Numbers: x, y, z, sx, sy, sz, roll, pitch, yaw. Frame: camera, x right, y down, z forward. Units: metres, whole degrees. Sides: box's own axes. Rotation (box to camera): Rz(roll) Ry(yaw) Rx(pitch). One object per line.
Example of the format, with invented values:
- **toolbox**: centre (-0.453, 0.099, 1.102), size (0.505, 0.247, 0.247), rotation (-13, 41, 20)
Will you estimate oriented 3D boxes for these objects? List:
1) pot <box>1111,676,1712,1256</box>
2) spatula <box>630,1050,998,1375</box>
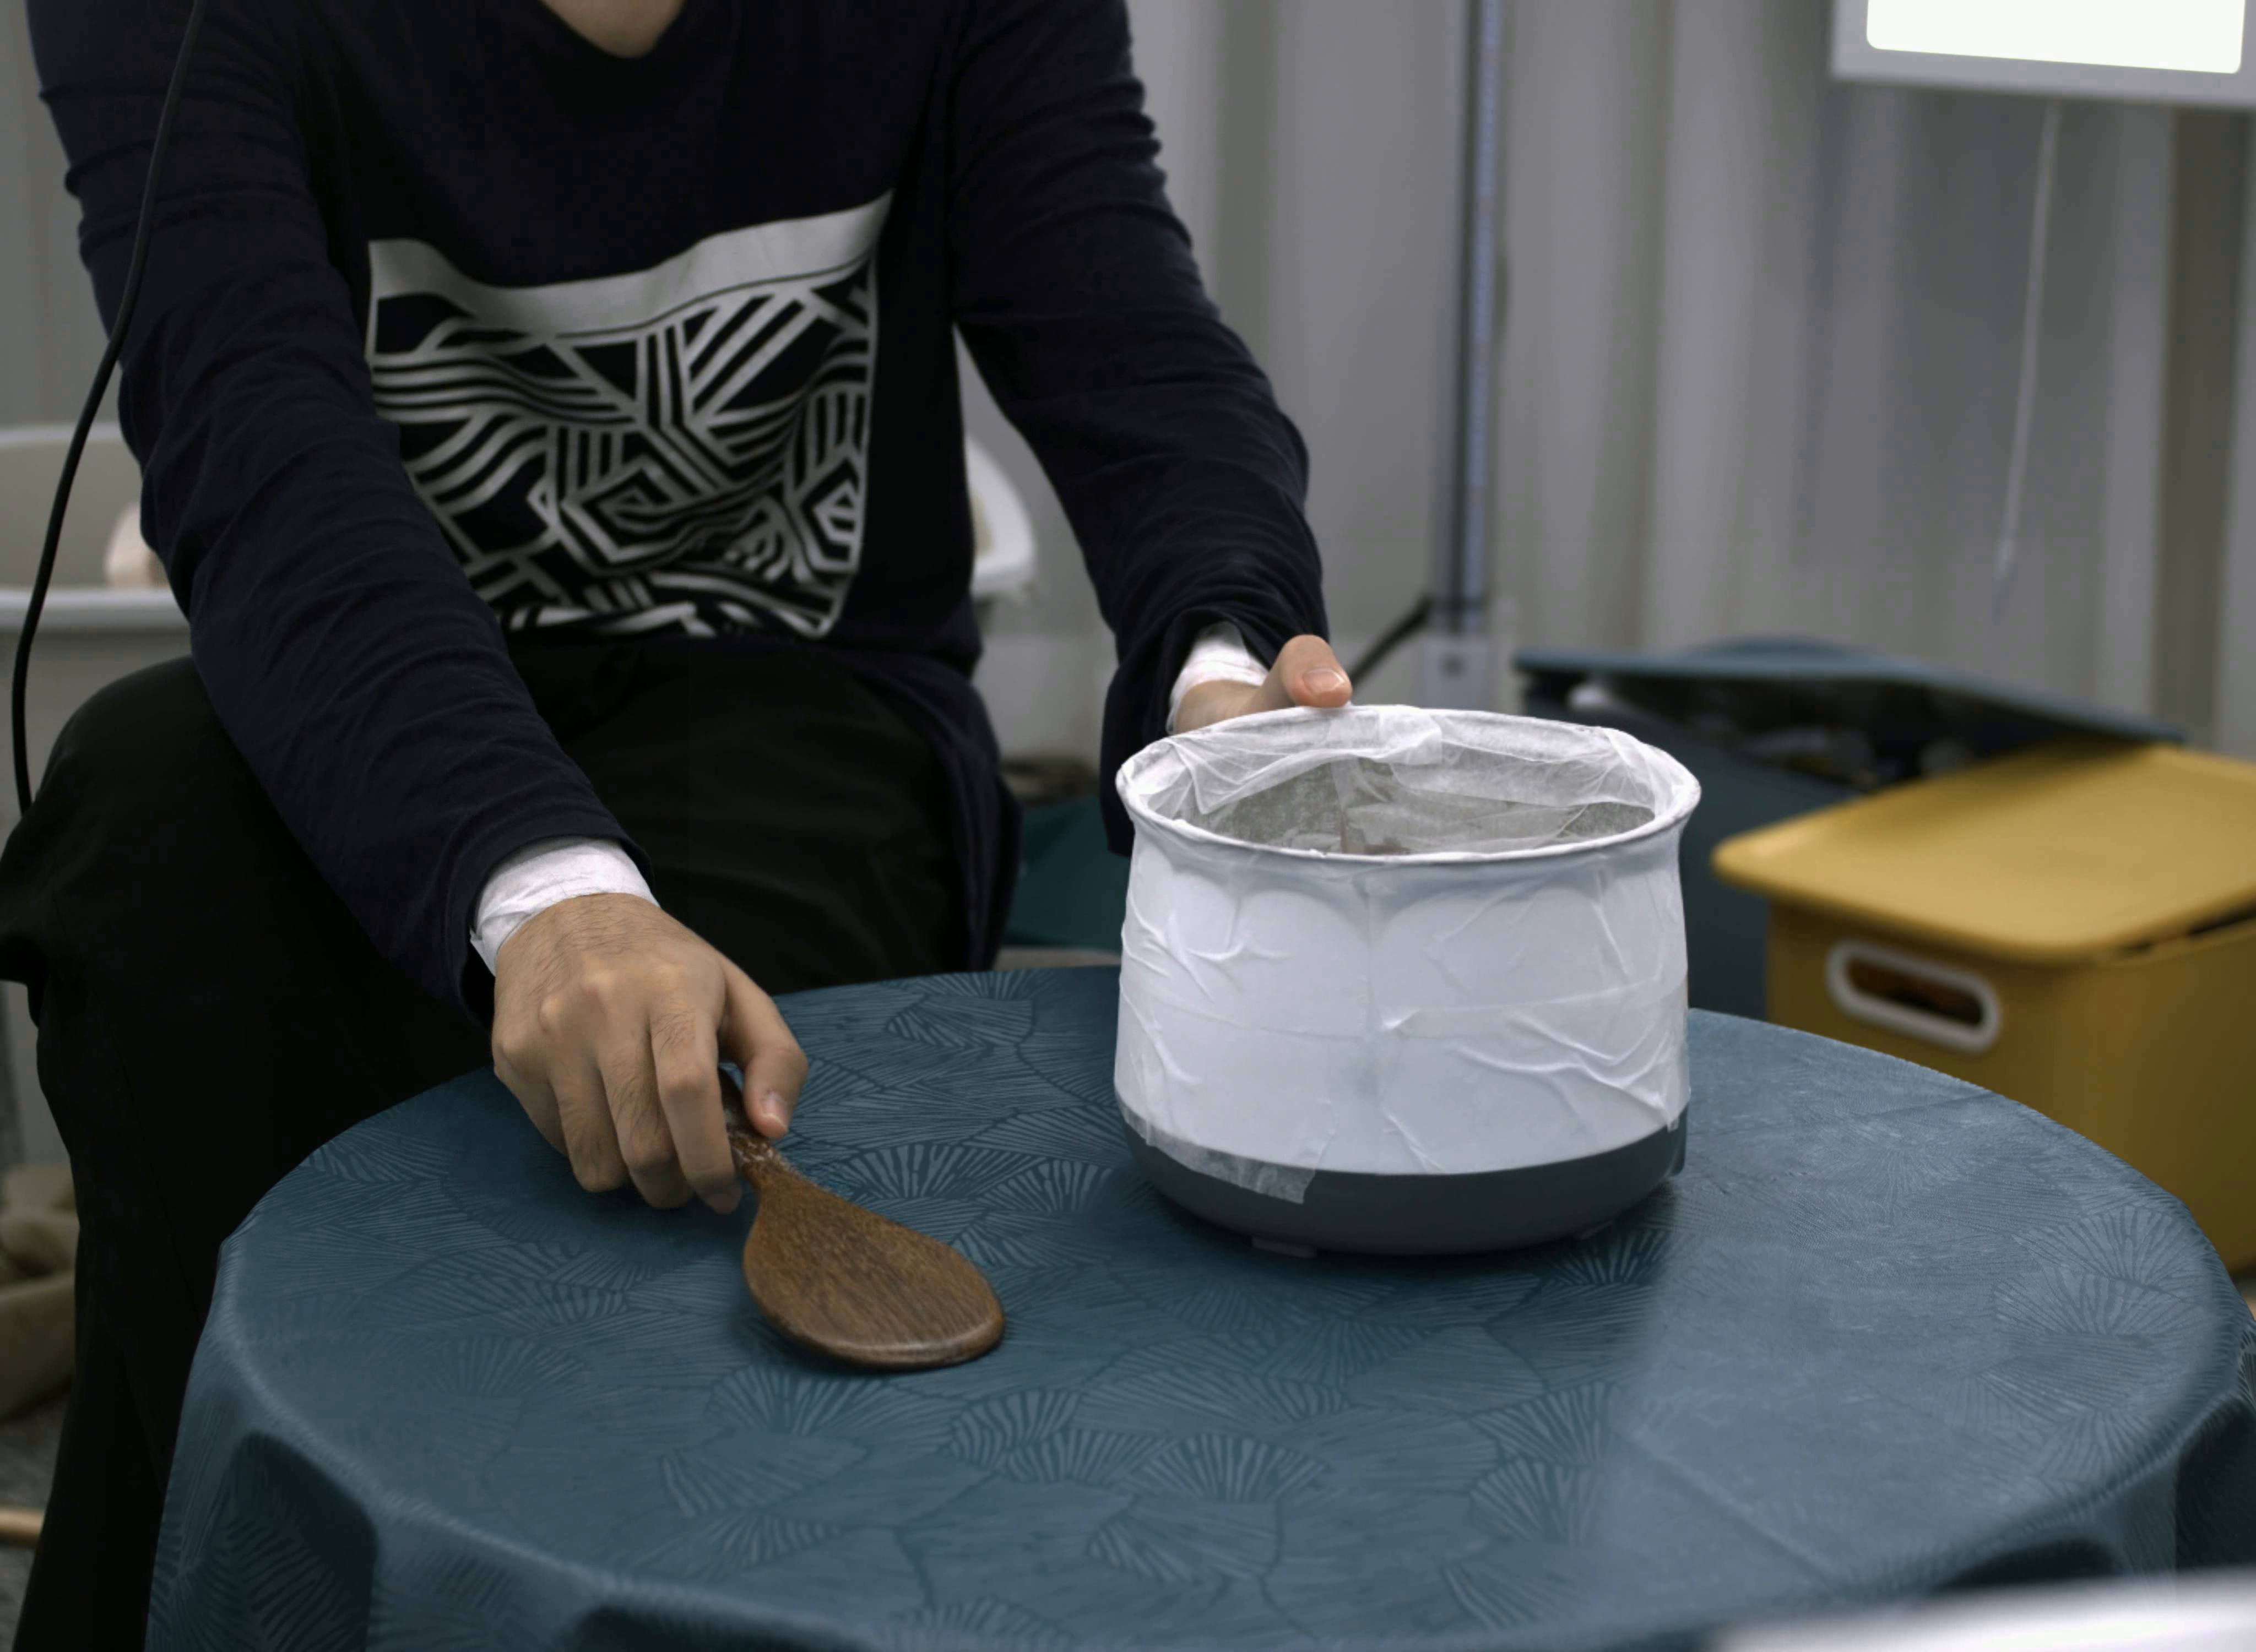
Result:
- **pot**: centre (0.078, 0.038, 1.633), size (0.179, 0.138, 0.231), rotation (-1, 17, -14)
- **spatula**: centre (-0.102, 0.111, 1.560), size (0.072, 0.009, 0.213), rotation (0, 22, -27)
